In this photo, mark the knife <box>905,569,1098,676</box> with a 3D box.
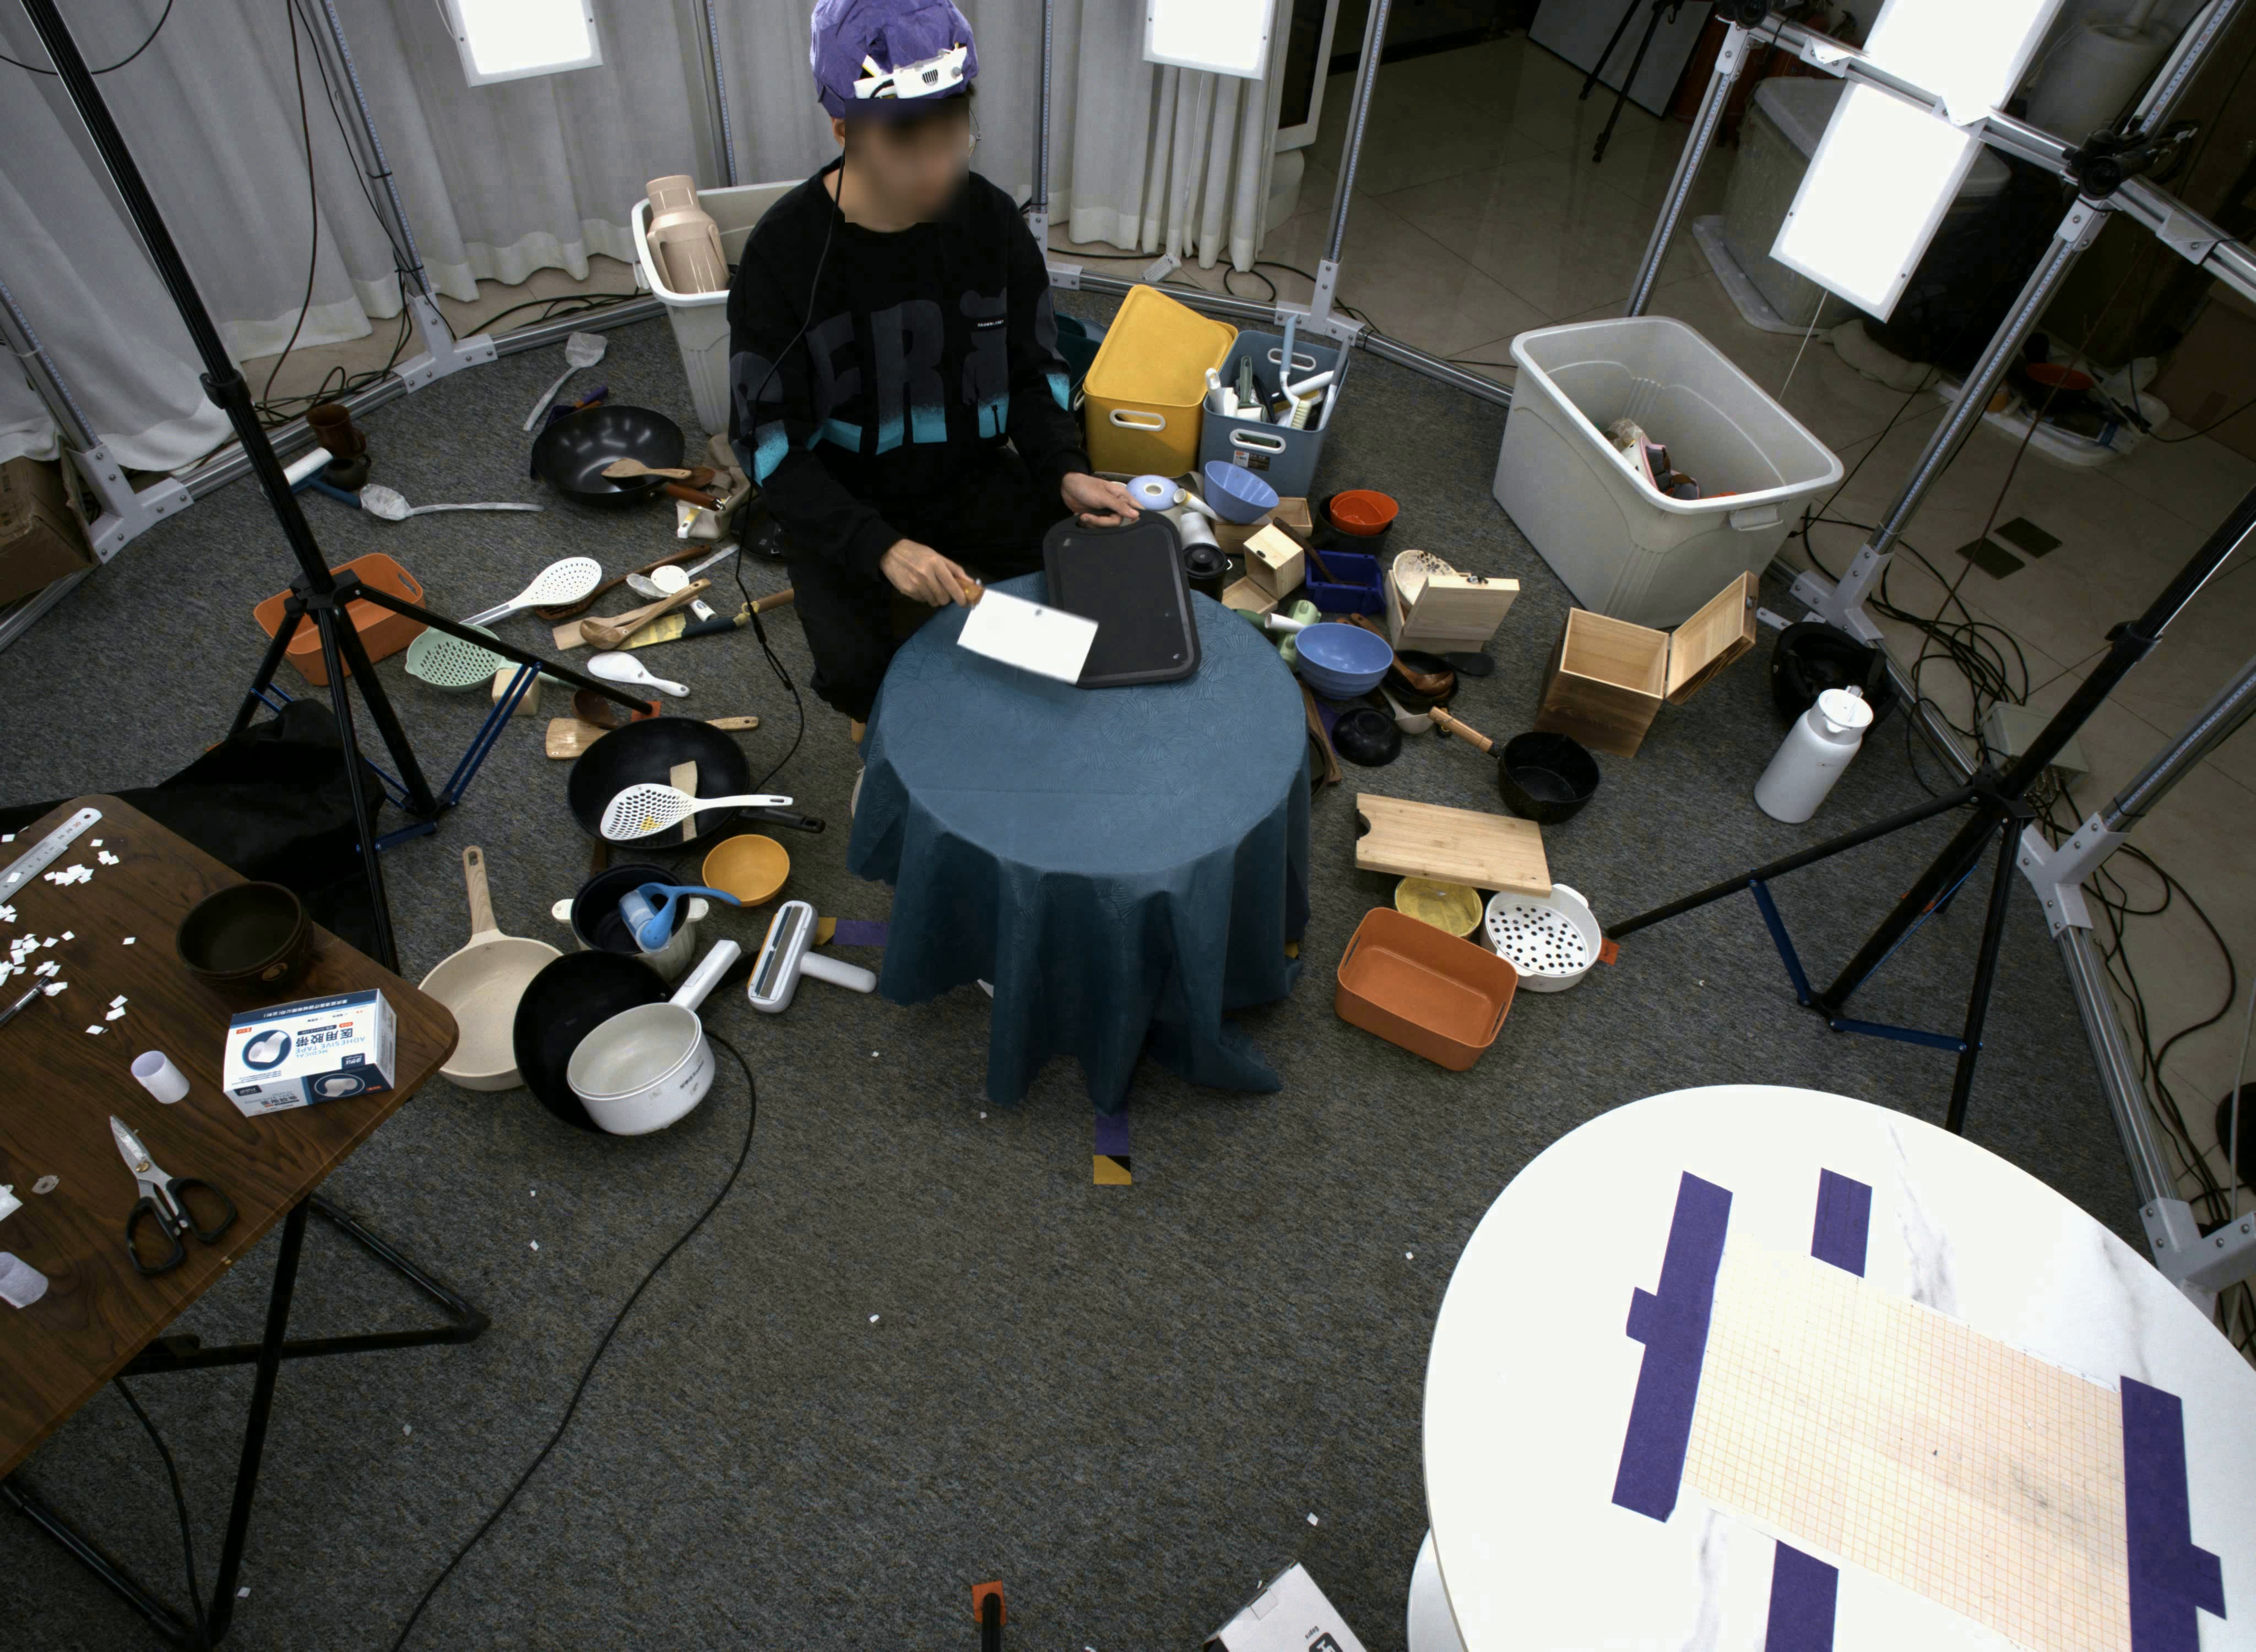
[{"bbox_3d":[-0.190,-0.285,1.821,0.308,0.021,0.093,21,83,17],"label":"knife"}]

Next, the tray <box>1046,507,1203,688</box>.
[{"bbox_3d":[-0.010,-0.348,1.915,0.211,0.009,0.332,-6,61,-3],"label":"tray"}]
